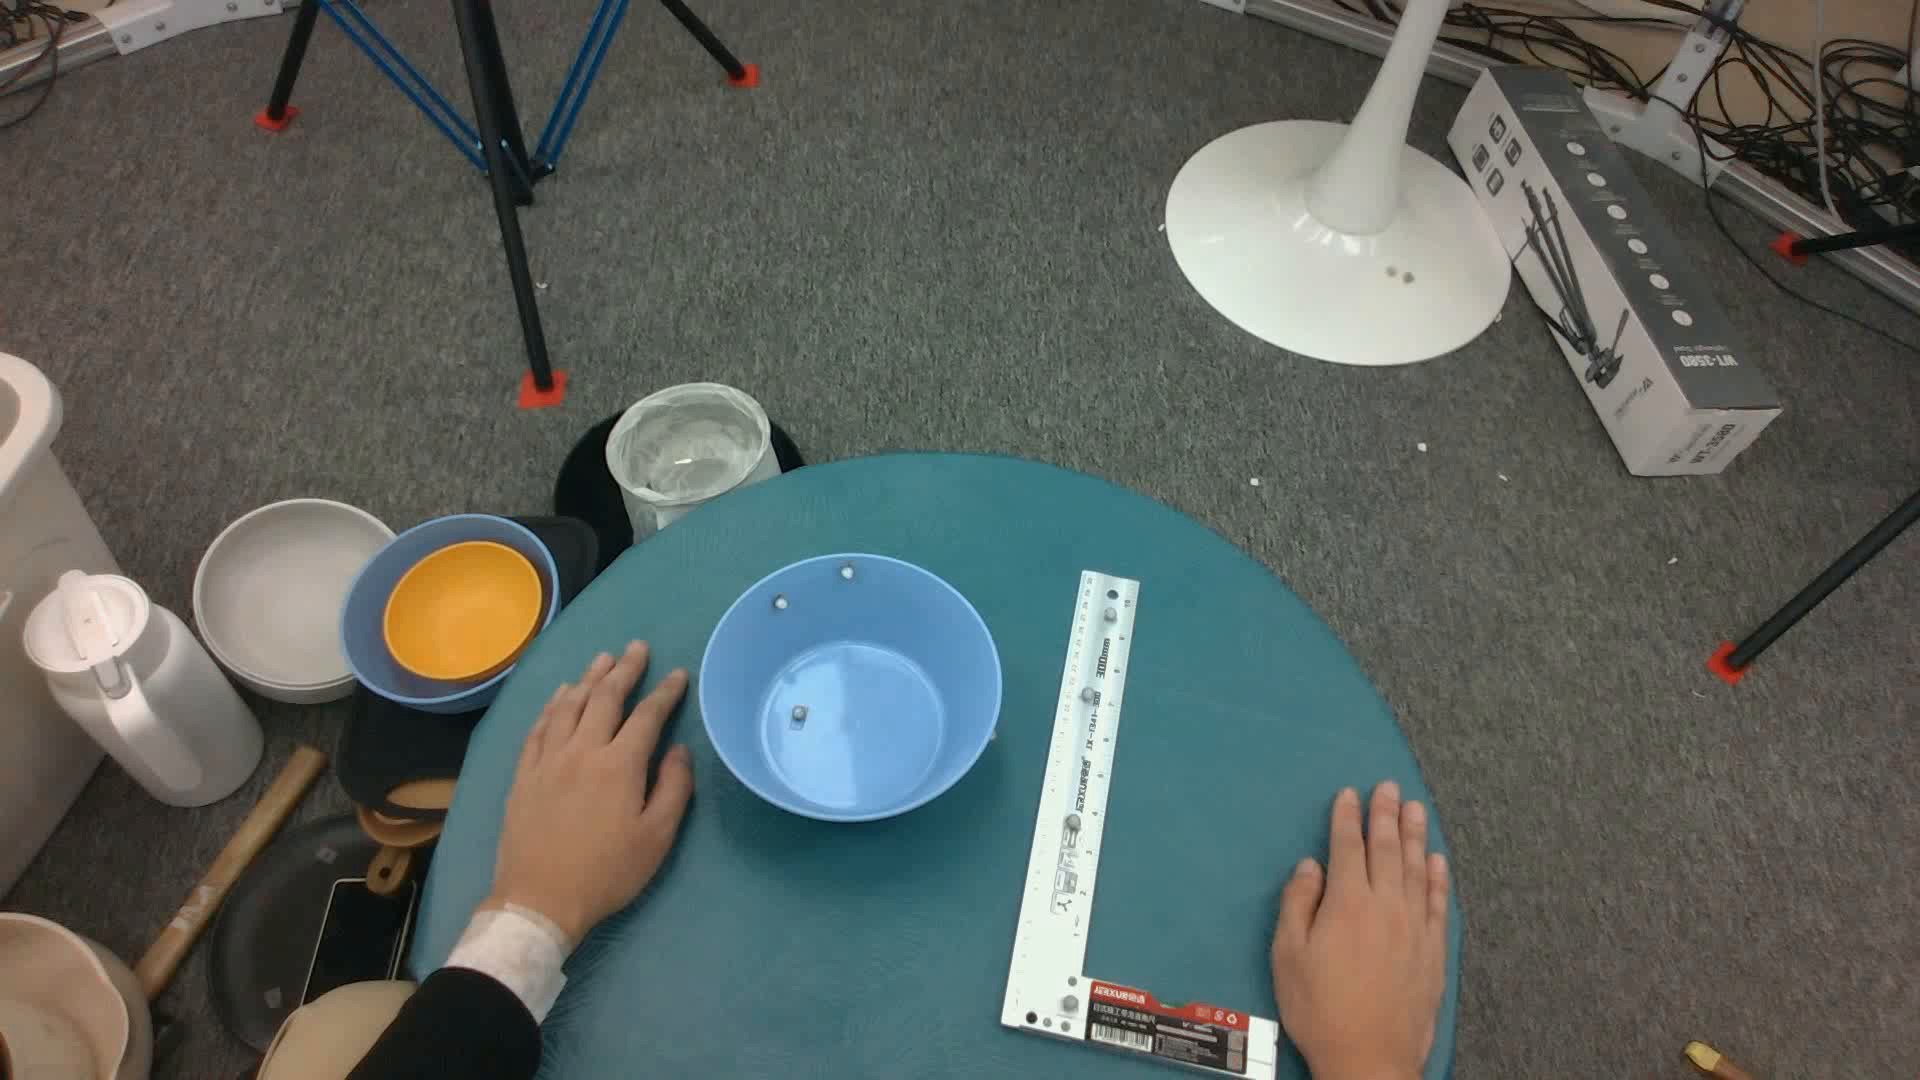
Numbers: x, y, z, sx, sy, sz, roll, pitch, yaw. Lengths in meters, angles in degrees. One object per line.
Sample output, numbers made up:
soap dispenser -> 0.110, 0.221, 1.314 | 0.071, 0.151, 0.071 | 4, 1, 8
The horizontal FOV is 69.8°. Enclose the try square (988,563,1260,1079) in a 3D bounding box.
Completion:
try square -> 0.116, 0.157, 0.843 | 0.152, 0.016, 0.314 | 14, 54, -1

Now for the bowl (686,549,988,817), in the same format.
bowl -> -0.073, 0.096, 0.824 | 0.176, 0.070, 0.177 | 3, 55, -5
